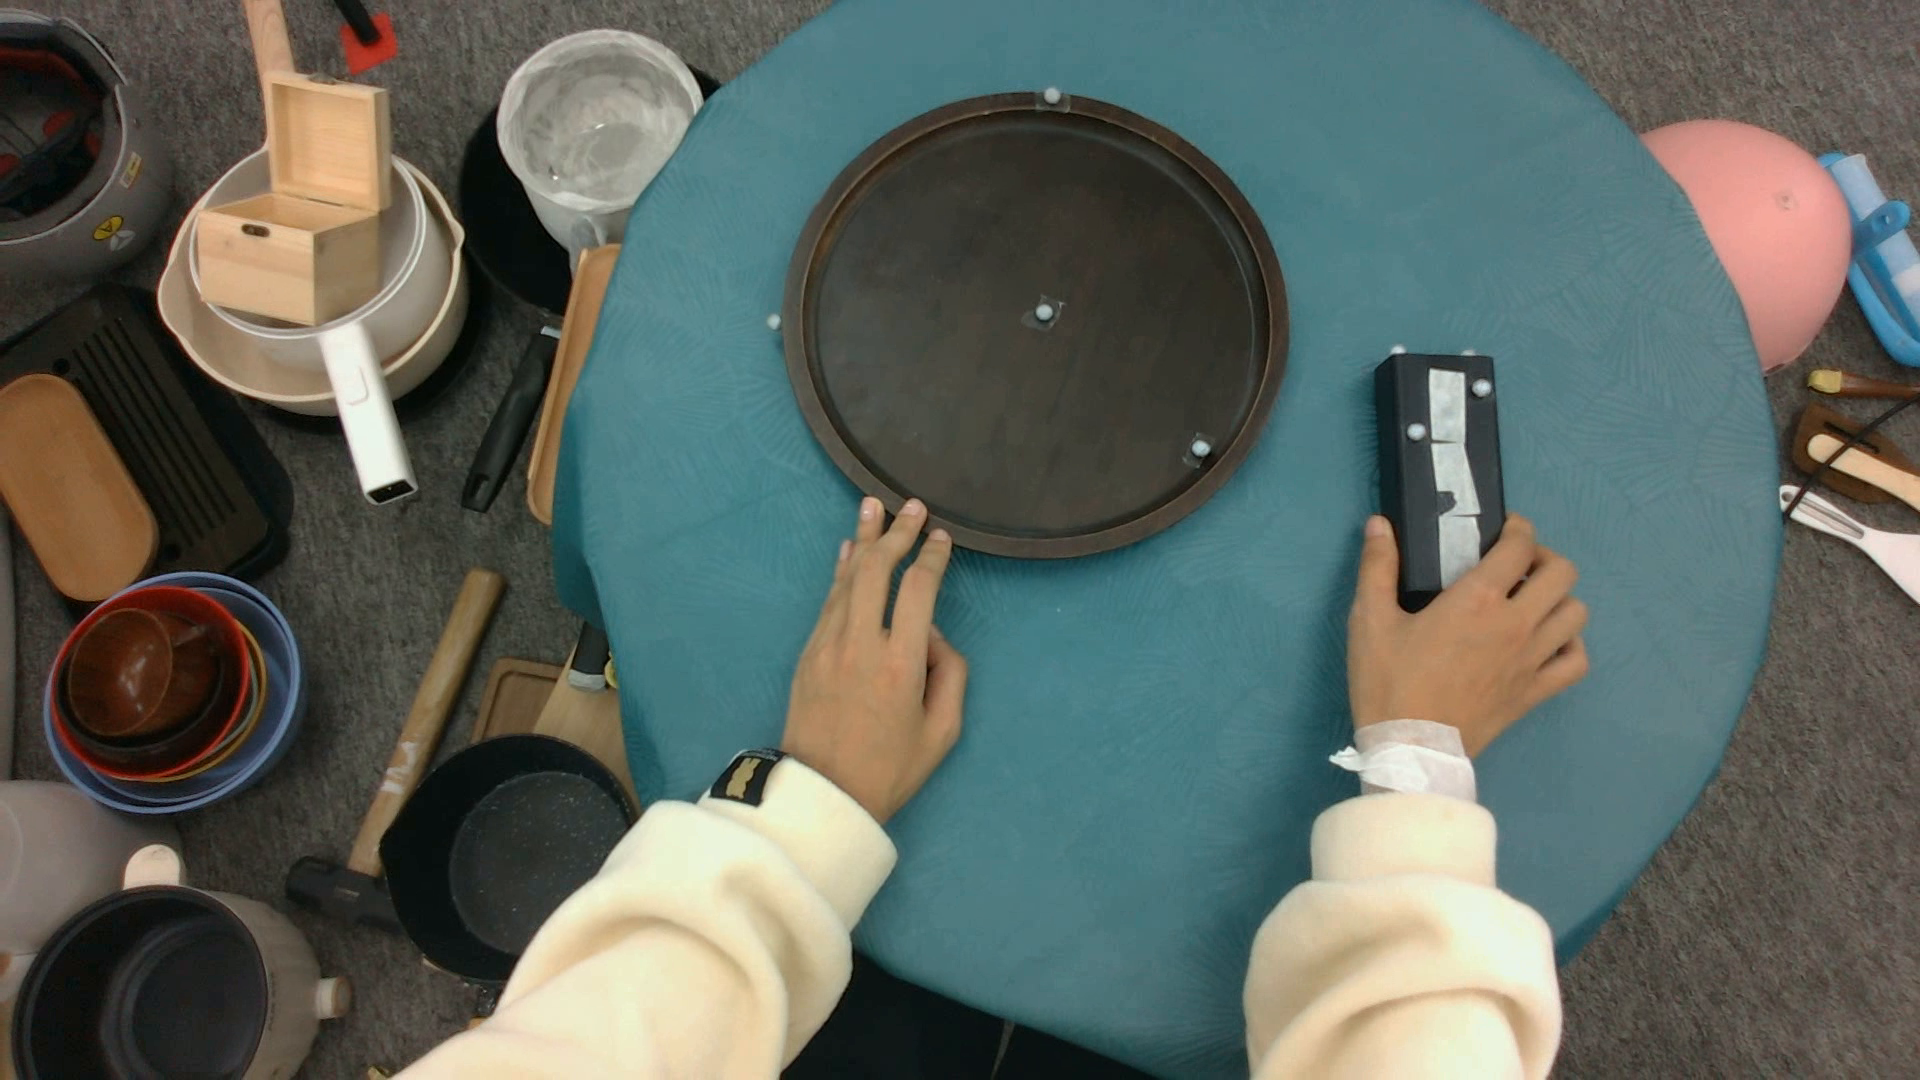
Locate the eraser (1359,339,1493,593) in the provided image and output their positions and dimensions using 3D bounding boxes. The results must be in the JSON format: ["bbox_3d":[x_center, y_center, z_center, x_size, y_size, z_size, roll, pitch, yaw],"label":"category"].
[{"bbox_3d":[0.225,-0.036,0.672,0.053,0.030,0.126,1,75,0],"label":"eraser"}]

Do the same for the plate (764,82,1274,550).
[{"bbox_3d":[0.030,-0.115,0.690,0.255,0.029,0.255,1,72,-2],"label":"plate"}]
